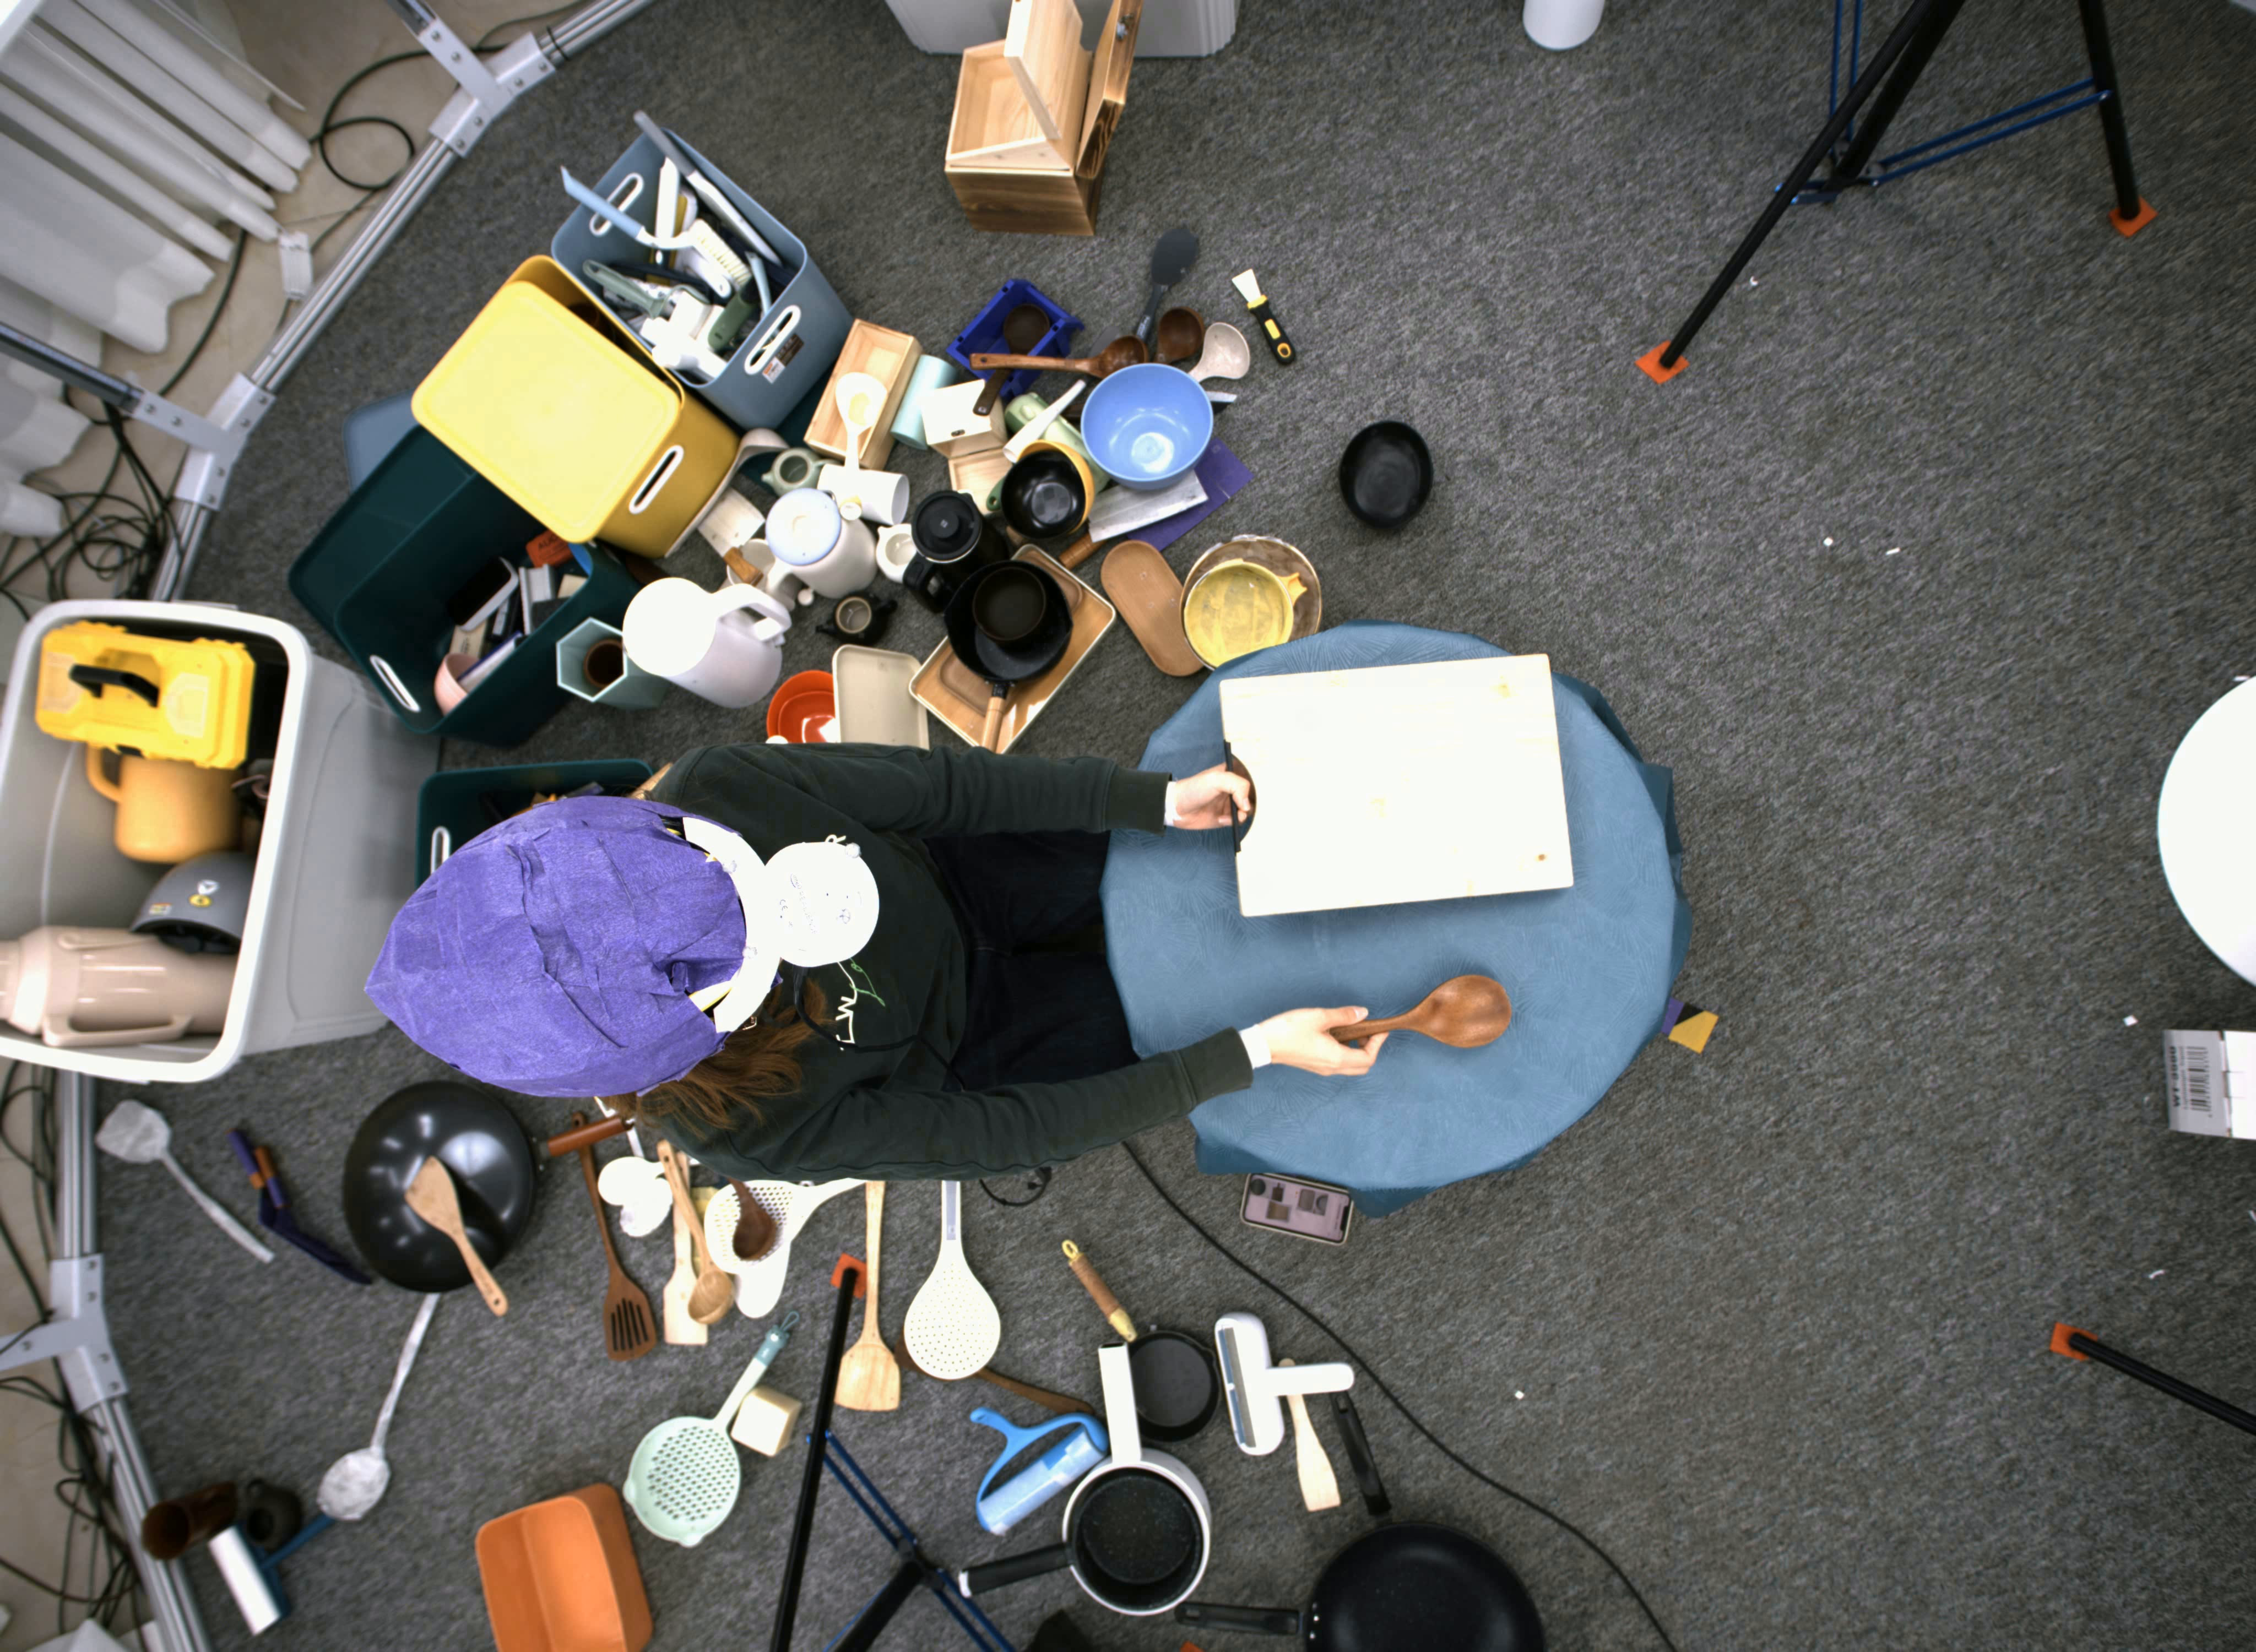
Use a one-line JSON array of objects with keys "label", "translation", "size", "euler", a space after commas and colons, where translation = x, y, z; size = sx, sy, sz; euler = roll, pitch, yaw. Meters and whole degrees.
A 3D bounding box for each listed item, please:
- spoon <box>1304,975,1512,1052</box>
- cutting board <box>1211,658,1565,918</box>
[{"label": "spoon", "translation": [0.284, 0.198, 1.400], "size": [0.216, 0.017, 0.075], "euler": [-9, 93, -4]}, {"label": "cutting board", "translation": [0.267, -0.042, 1.402], "size": [0.349, 0.023, 0.250], "euler": [-6, 88, -2]}]
